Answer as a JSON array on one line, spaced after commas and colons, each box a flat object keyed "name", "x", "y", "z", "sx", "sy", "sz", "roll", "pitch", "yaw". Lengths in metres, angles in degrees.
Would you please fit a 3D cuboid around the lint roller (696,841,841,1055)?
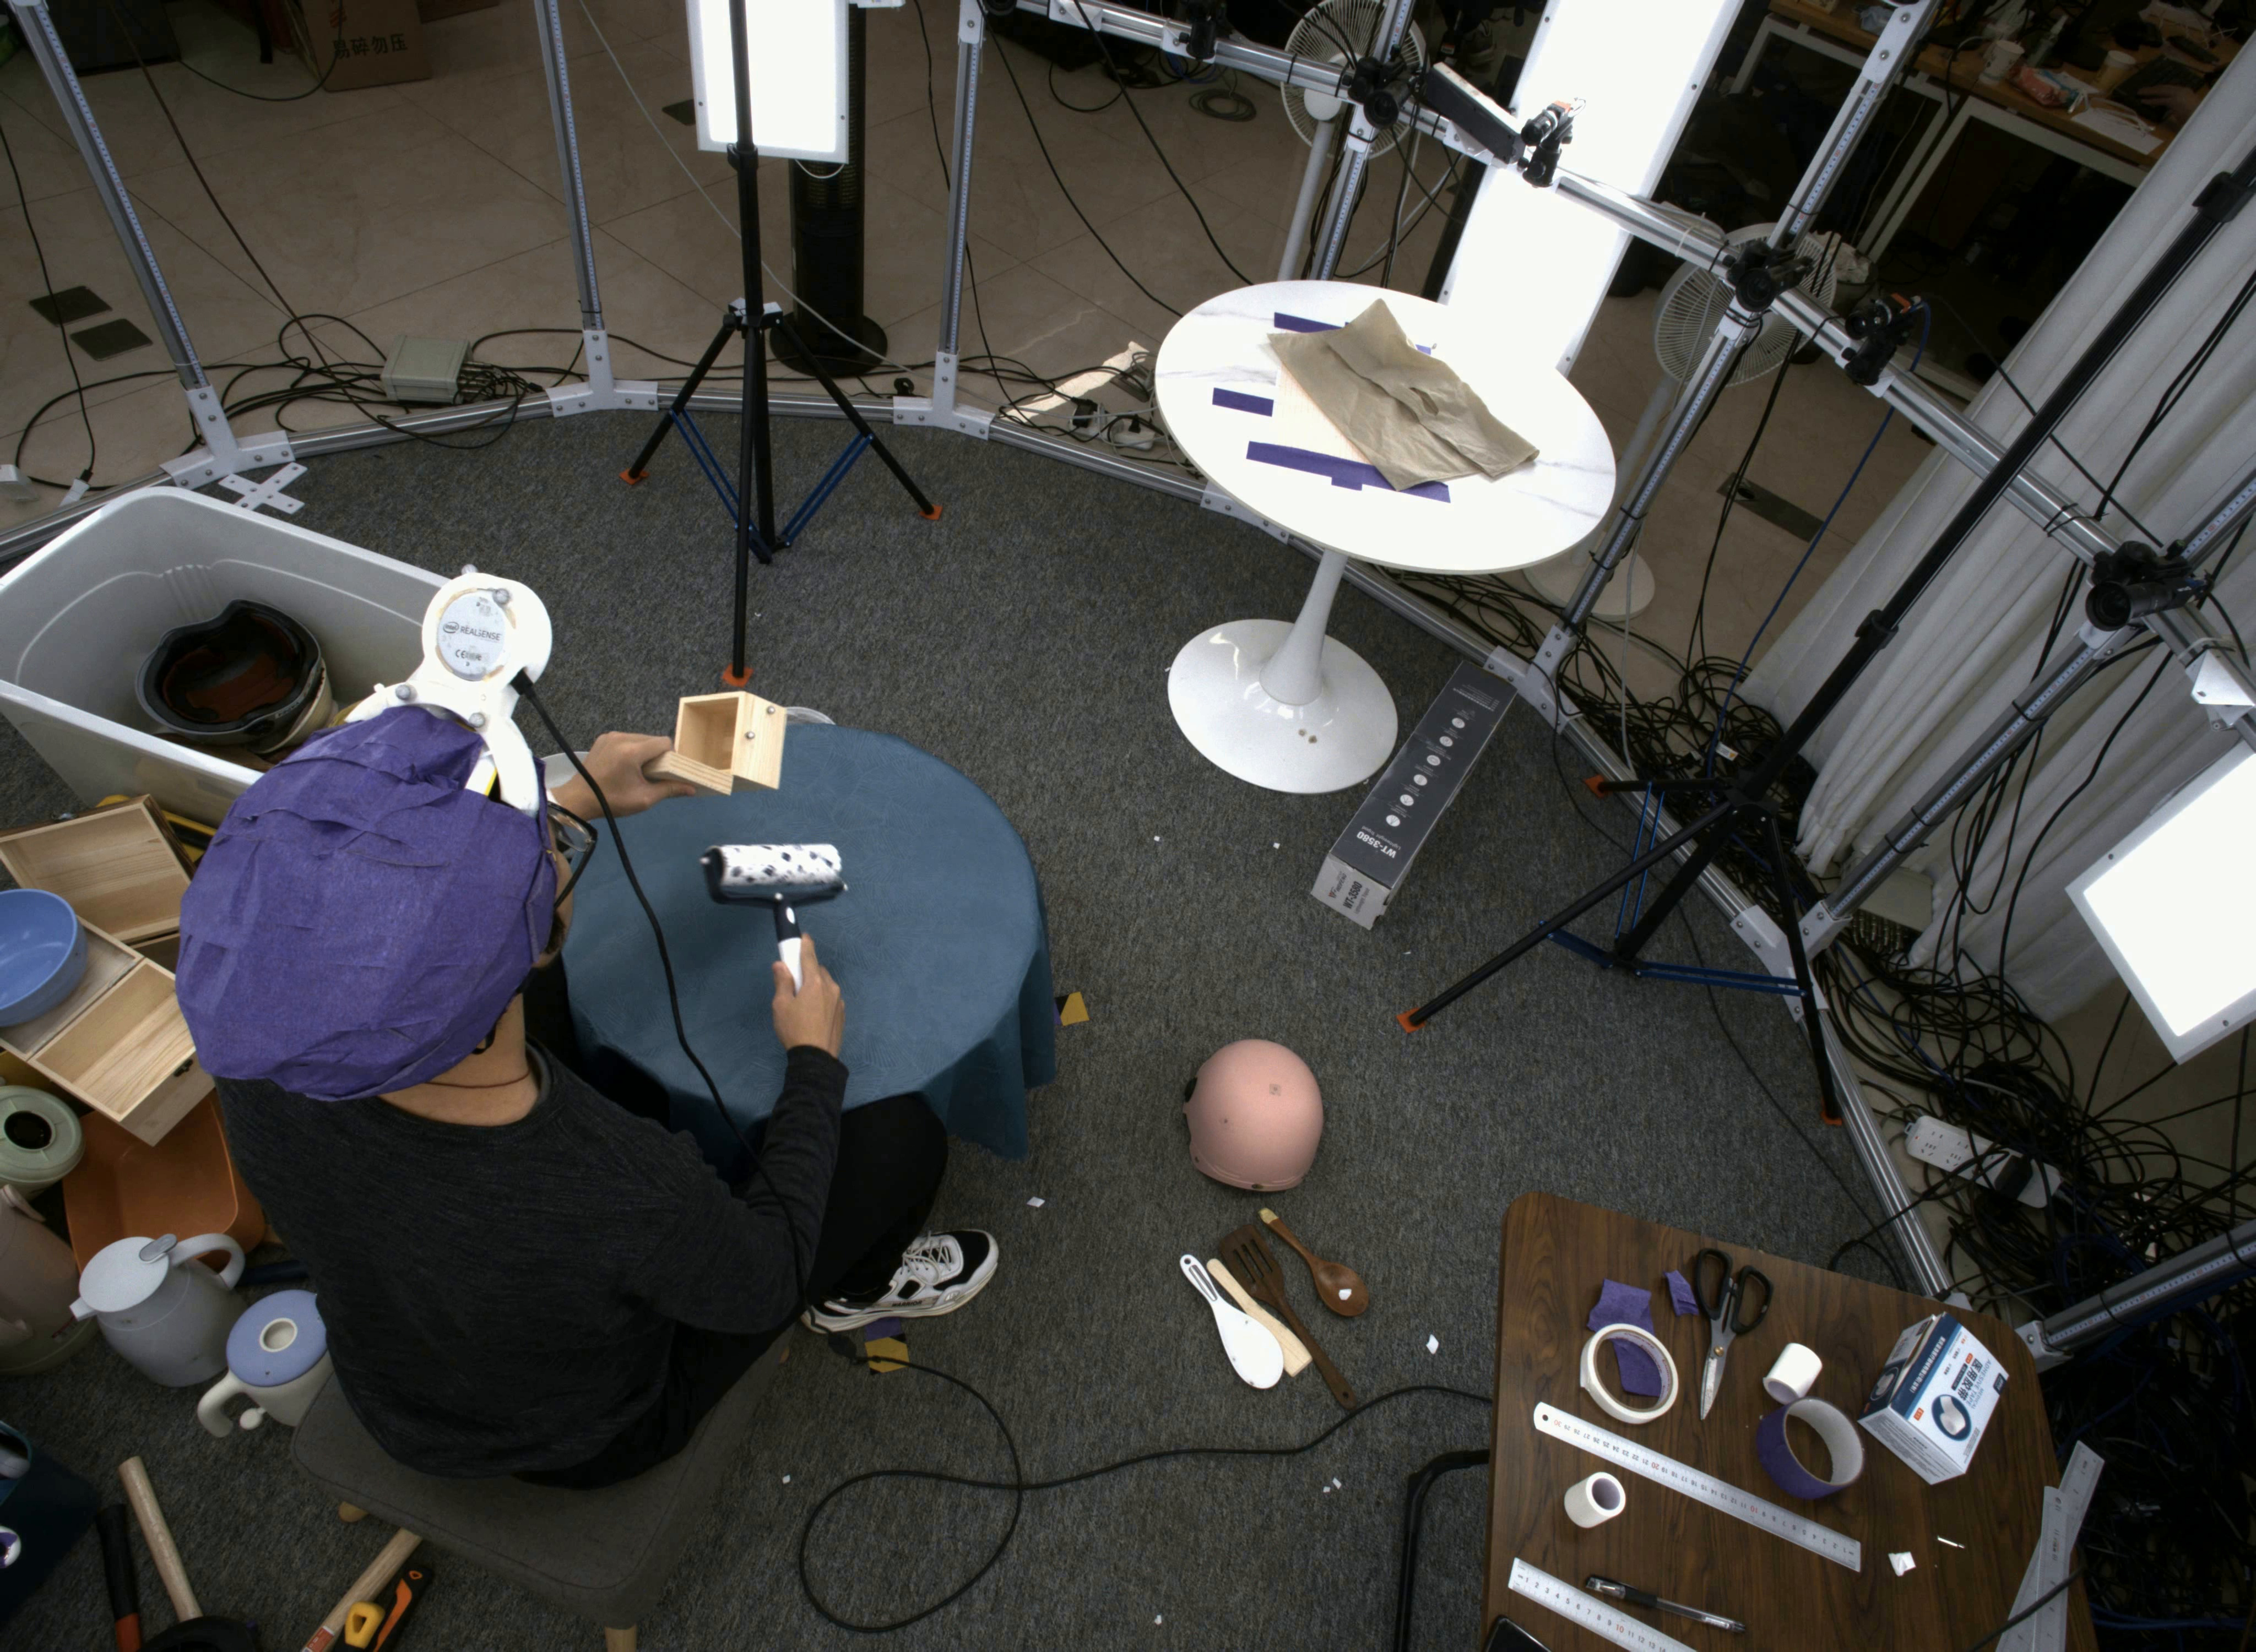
[{"name": "lint roller", "x": -0.380, "y": 0.132, "z": 1.467, "sx": 0.180, "sy": 0.049, "sz": 0.246, "roll": -4, "pitch": 71, "yaw": -52}]

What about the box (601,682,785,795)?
[{"name": "box", "x": -0.498, "y": -0.106, "z": 1.476, "sx": 0.099, "sy": 0.189, "sz": 0.134, "roll": -3, "pitch": 78, "yaw": 27}]
